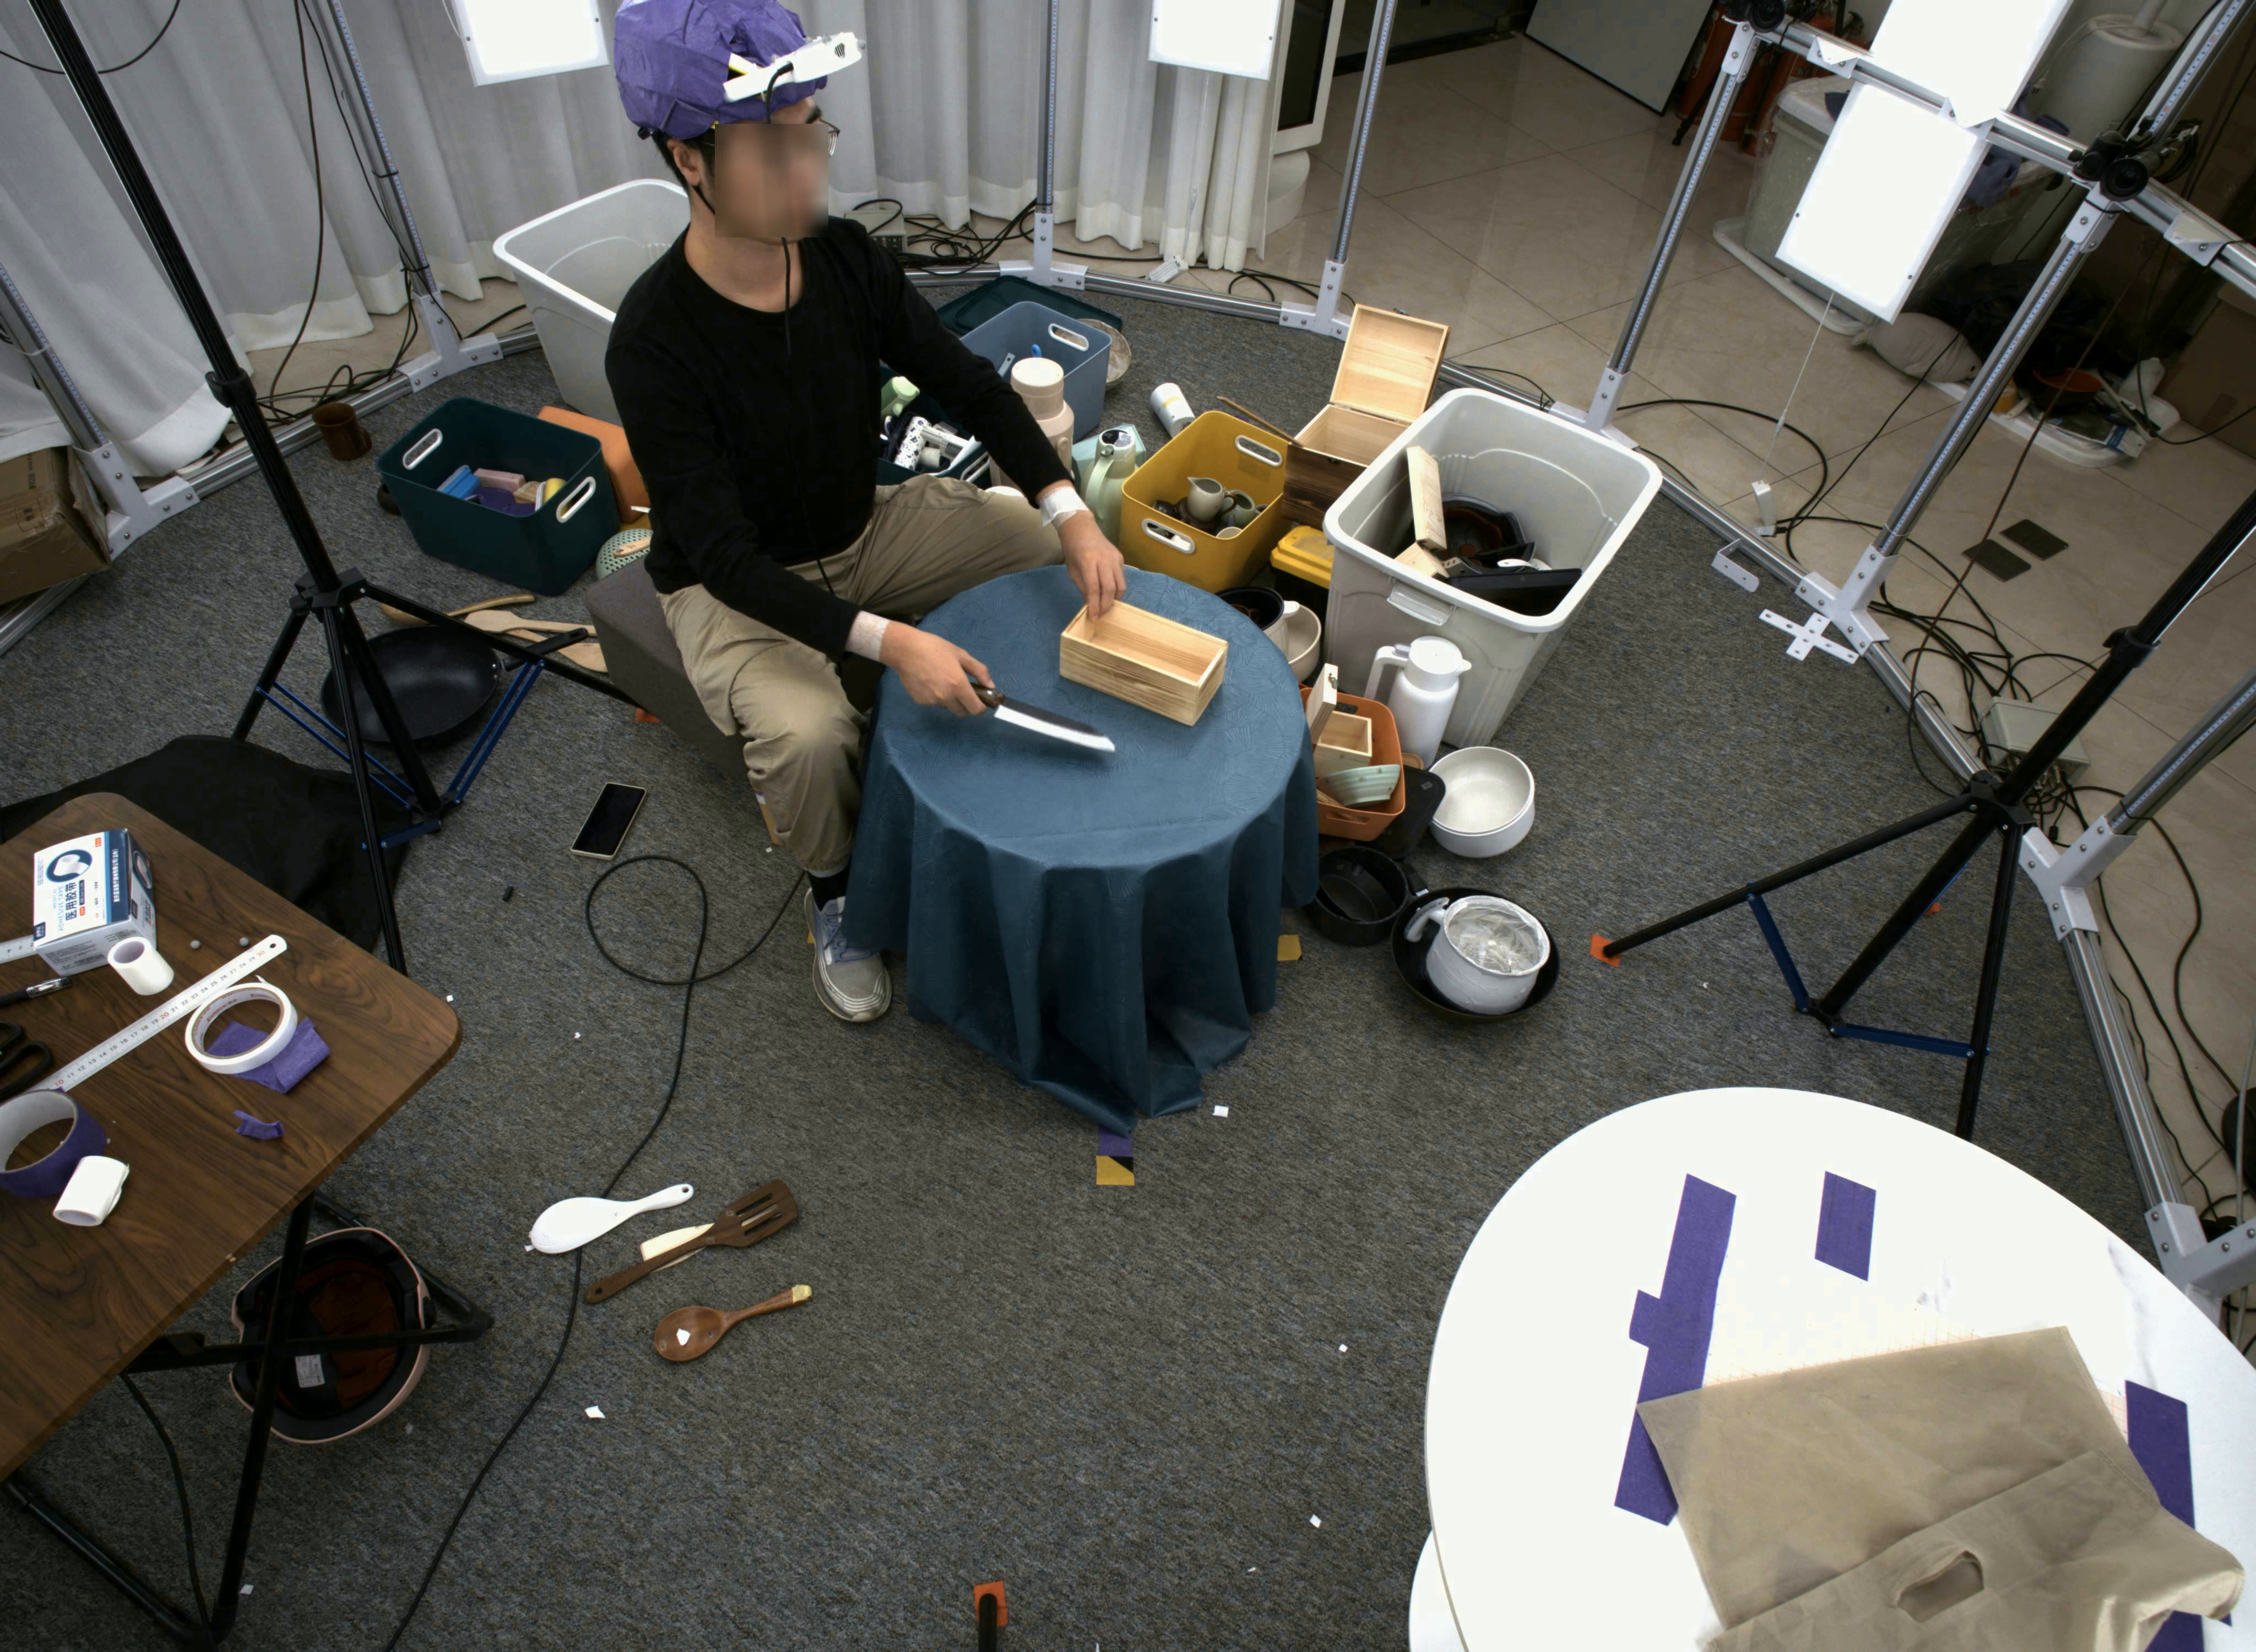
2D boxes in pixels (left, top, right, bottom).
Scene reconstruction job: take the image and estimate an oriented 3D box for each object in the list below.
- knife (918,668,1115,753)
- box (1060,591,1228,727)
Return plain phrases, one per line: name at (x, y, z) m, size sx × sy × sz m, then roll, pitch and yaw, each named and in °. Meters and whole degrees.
knife at (-0.151, -0.154, 1.739) m, size 0.289 × 0.019 × 0.051 m, roll 21°, pitch 48°, yaw 2°
box at (0.021, -0.240, 1.828) m, size 0.213 × 0.078 × 0.109 m, roll 24°, pitch 51°, yaw 15°
